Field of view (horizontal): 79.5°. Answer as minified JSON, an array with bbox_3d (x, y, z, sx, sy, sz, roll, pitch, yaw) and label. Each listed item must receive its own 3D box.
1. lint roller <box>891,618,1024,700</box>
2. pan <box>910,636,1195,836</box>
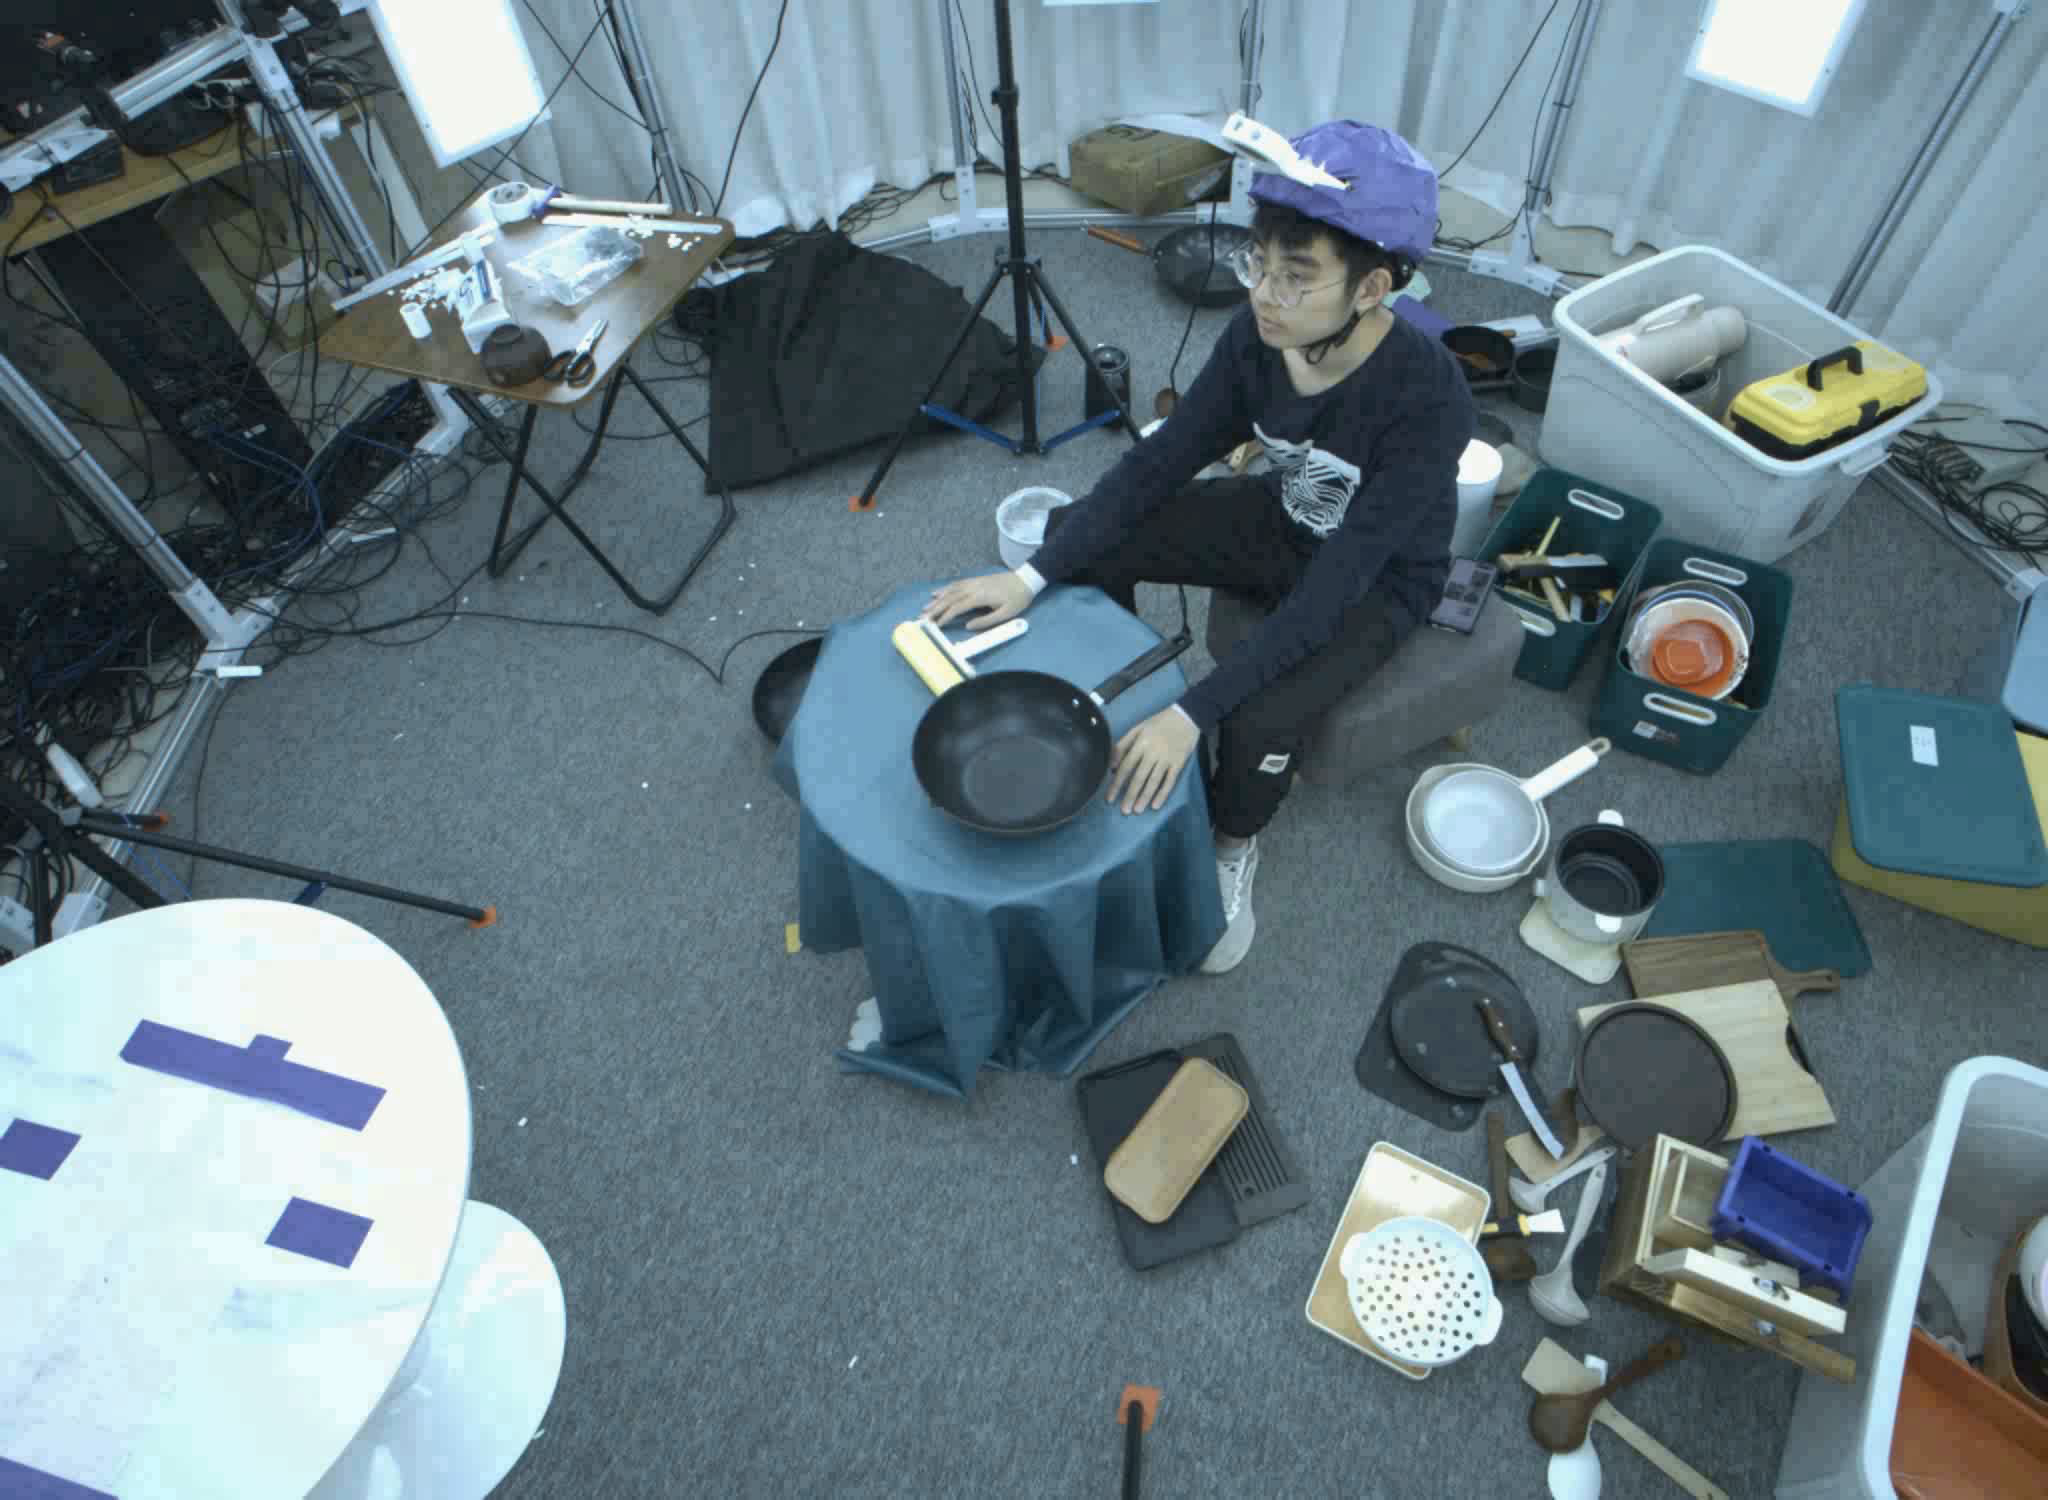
[{"bbox_3d":[-0.083,-0.165,1.886,0.193,0.052,0.171,-30,60,-18],"label":"lint roller"},{"bbox_3d":[0.057,-0.031,1.765,0.467,0.088,0.283,-32,60,-20],"label":"pan"}]
